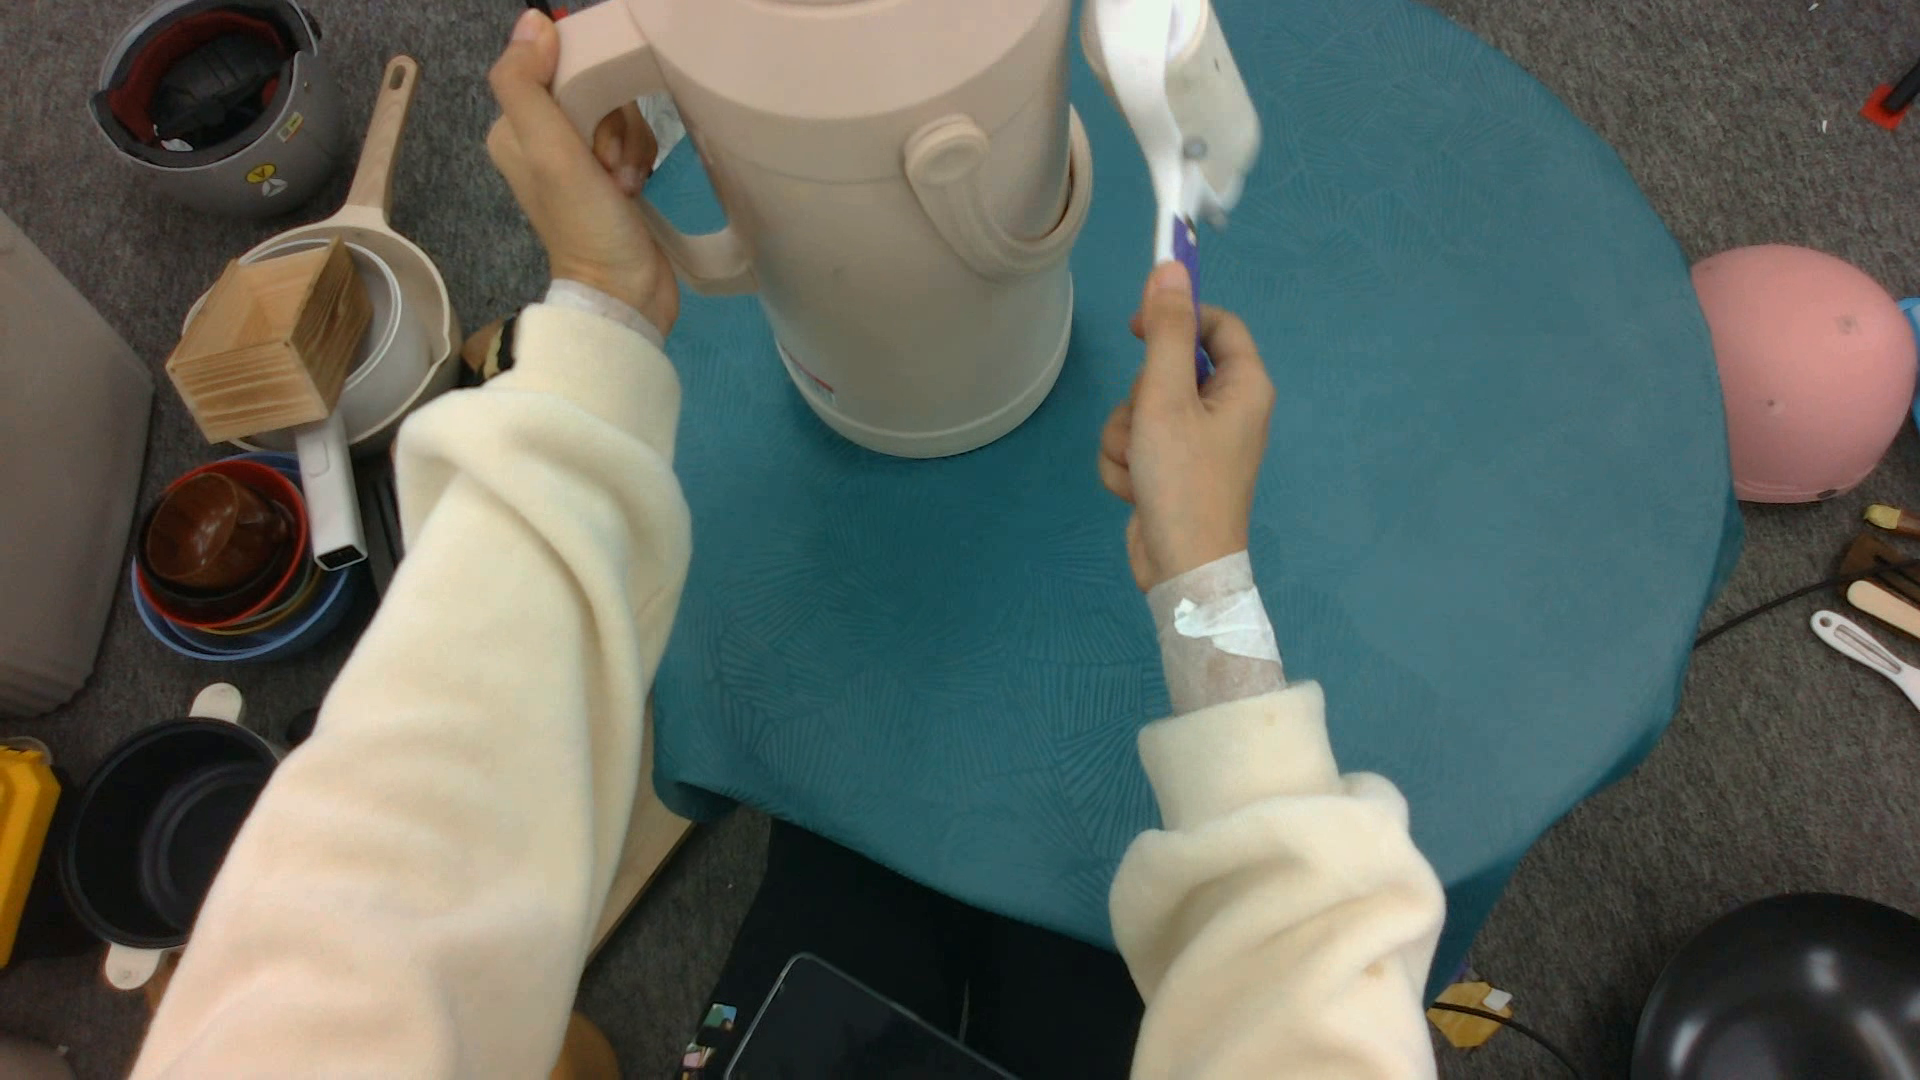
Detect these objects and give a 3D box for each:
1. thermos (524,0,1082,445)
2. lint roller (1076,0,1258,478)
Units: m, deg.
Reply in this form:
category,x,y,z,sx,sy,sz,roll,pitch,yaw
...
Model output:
category,x,y,z,sx,sy,sz,roll,pitch,yaw
thermos,-0.051,-0.181,0.564,0.207,0.405,0.175,-24,73,-4
lint roller,0.090,-0.115,0.536,0.050,0.133,0.181,-12,72,23
